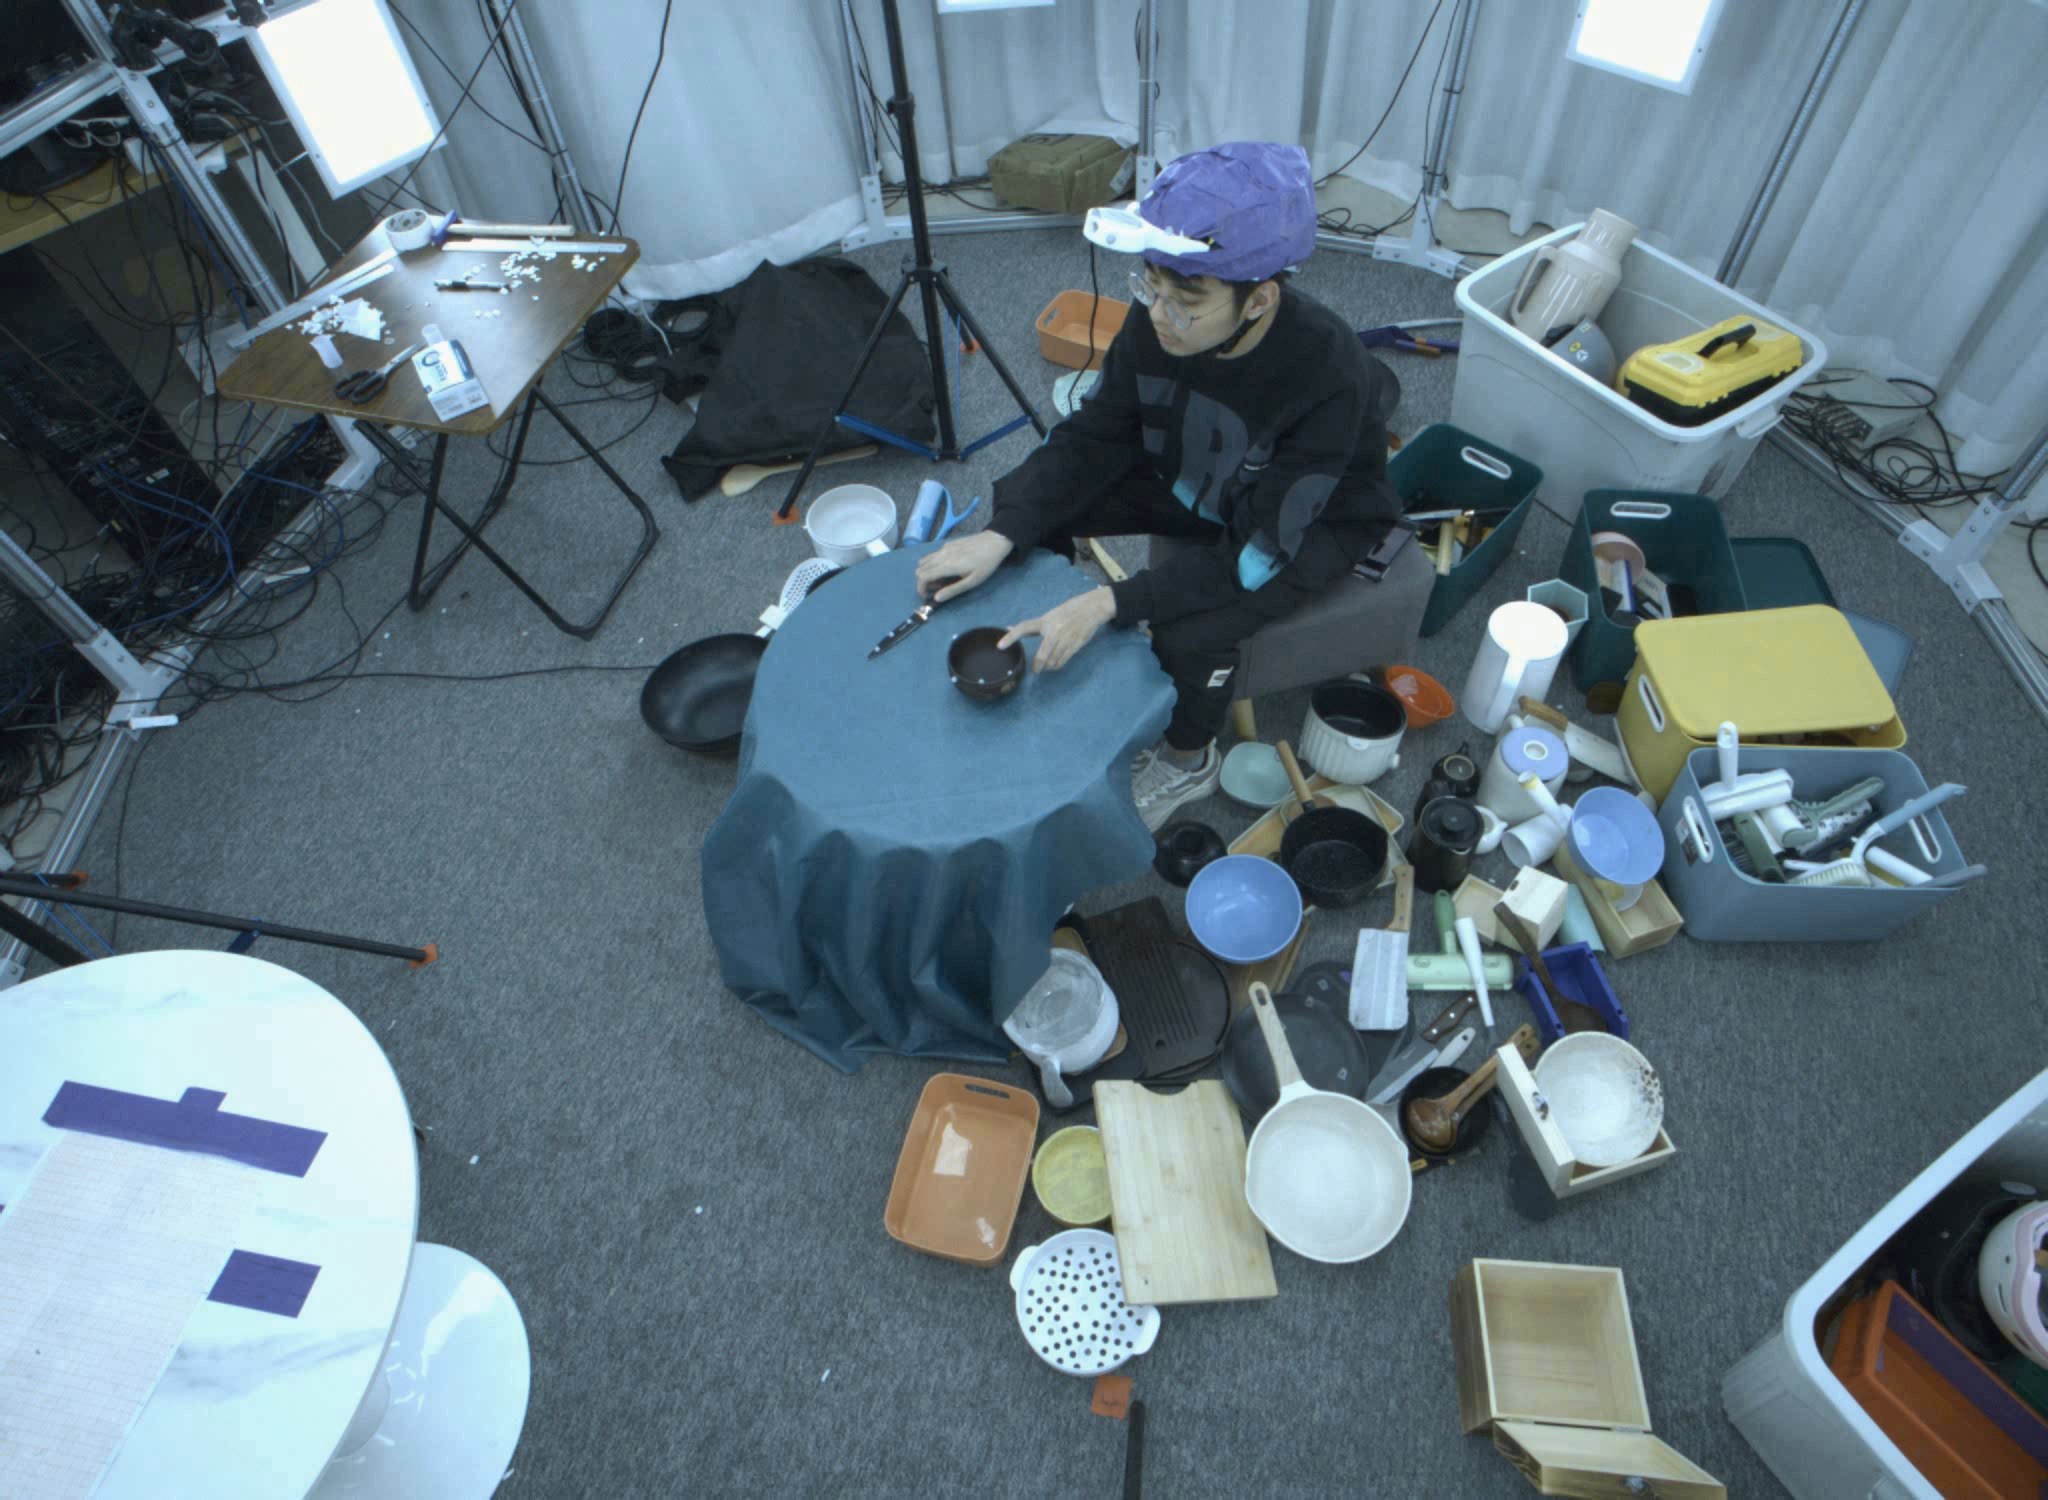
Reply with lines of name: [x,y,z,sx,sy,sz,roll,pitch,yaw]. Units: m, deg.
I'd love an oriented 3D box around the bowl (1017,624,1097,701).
bowl: [0.050,-0.122,1.825,0.118,0.070,0.117,0,56,1]

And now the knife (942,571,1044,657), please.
knife: [-0.050,-0.215,1.934,0.026,0.017,0.227,41,66,20]
